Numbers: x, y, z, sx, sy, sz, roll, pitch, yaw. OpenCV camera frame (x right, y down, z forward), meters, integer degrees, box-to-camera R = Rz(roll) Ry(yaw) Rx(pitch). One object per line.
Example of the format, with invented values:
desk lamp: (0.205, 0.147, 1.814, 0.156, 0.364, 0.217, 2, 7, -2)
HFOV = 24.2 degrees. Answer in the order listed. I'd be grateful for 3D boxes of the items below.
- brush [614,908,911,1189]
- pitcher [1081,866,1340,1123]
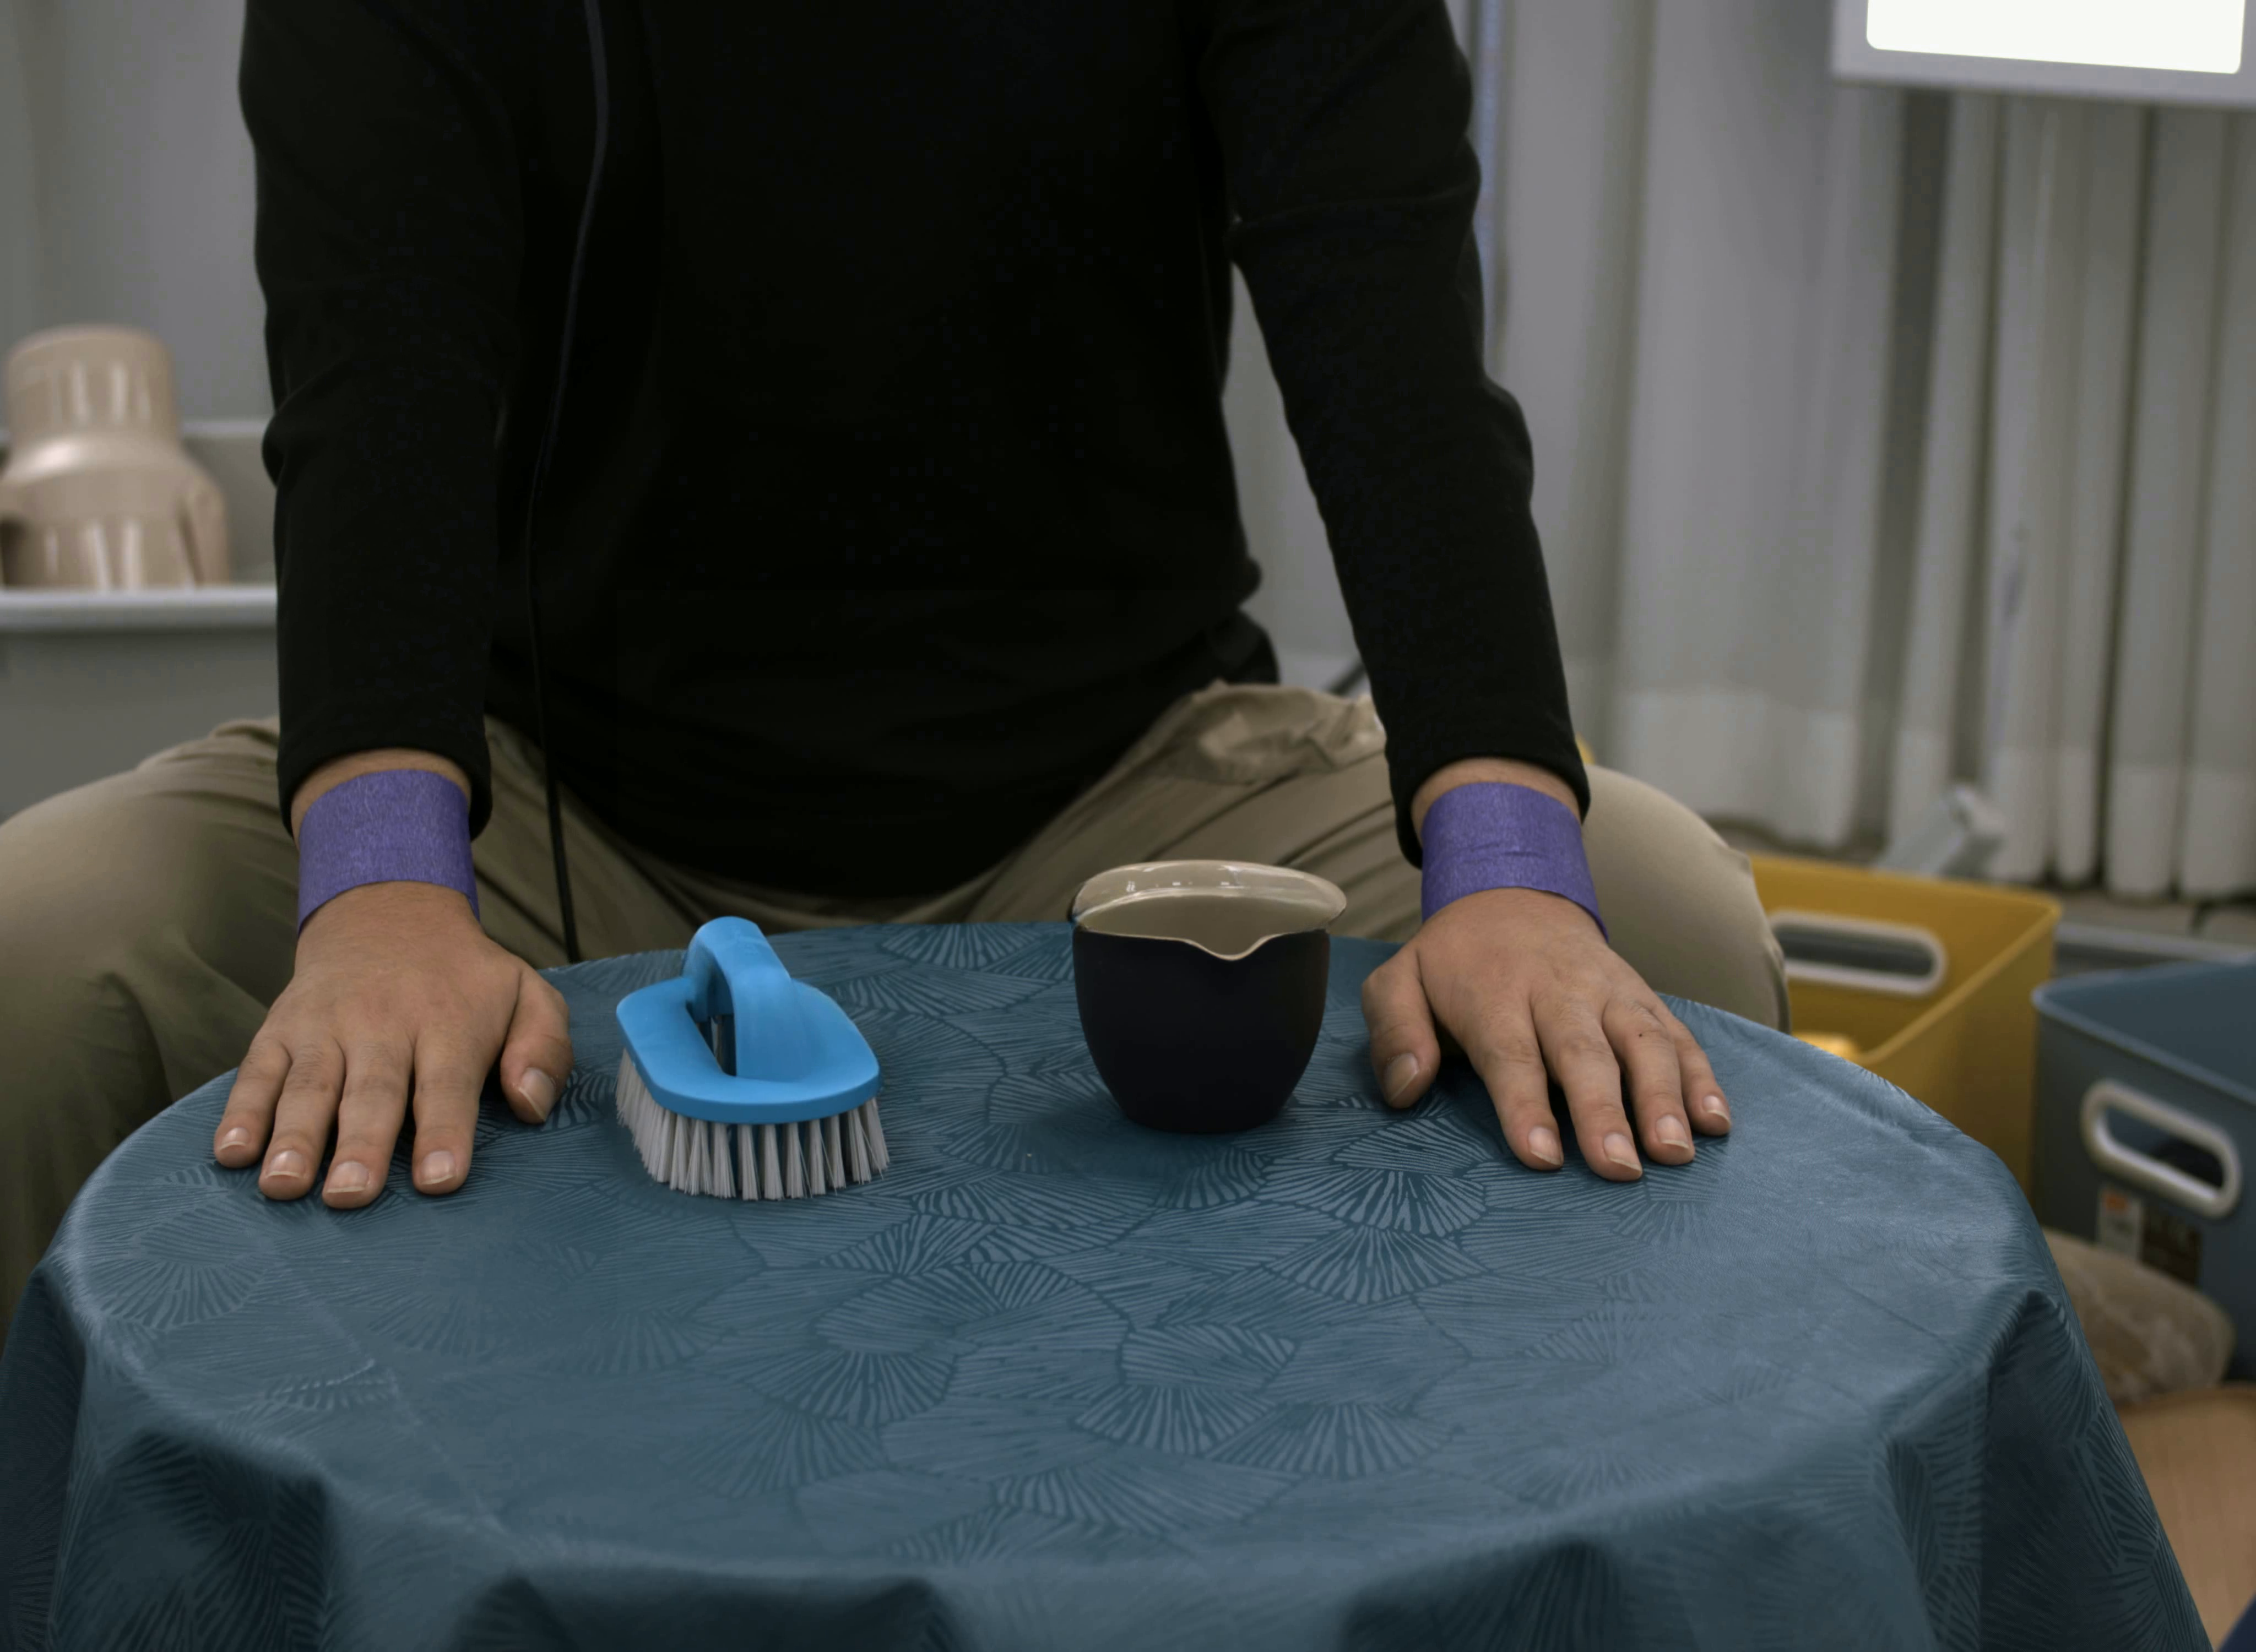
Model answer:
brush: (-0.119, 0.064, 1.667, 0.084, 0.064, 0.140, -8, 16, -11)
pitcher: (0.026, 0.055, 1.687, 0.083, 0.072, 0.095, 0, 17, -4)
